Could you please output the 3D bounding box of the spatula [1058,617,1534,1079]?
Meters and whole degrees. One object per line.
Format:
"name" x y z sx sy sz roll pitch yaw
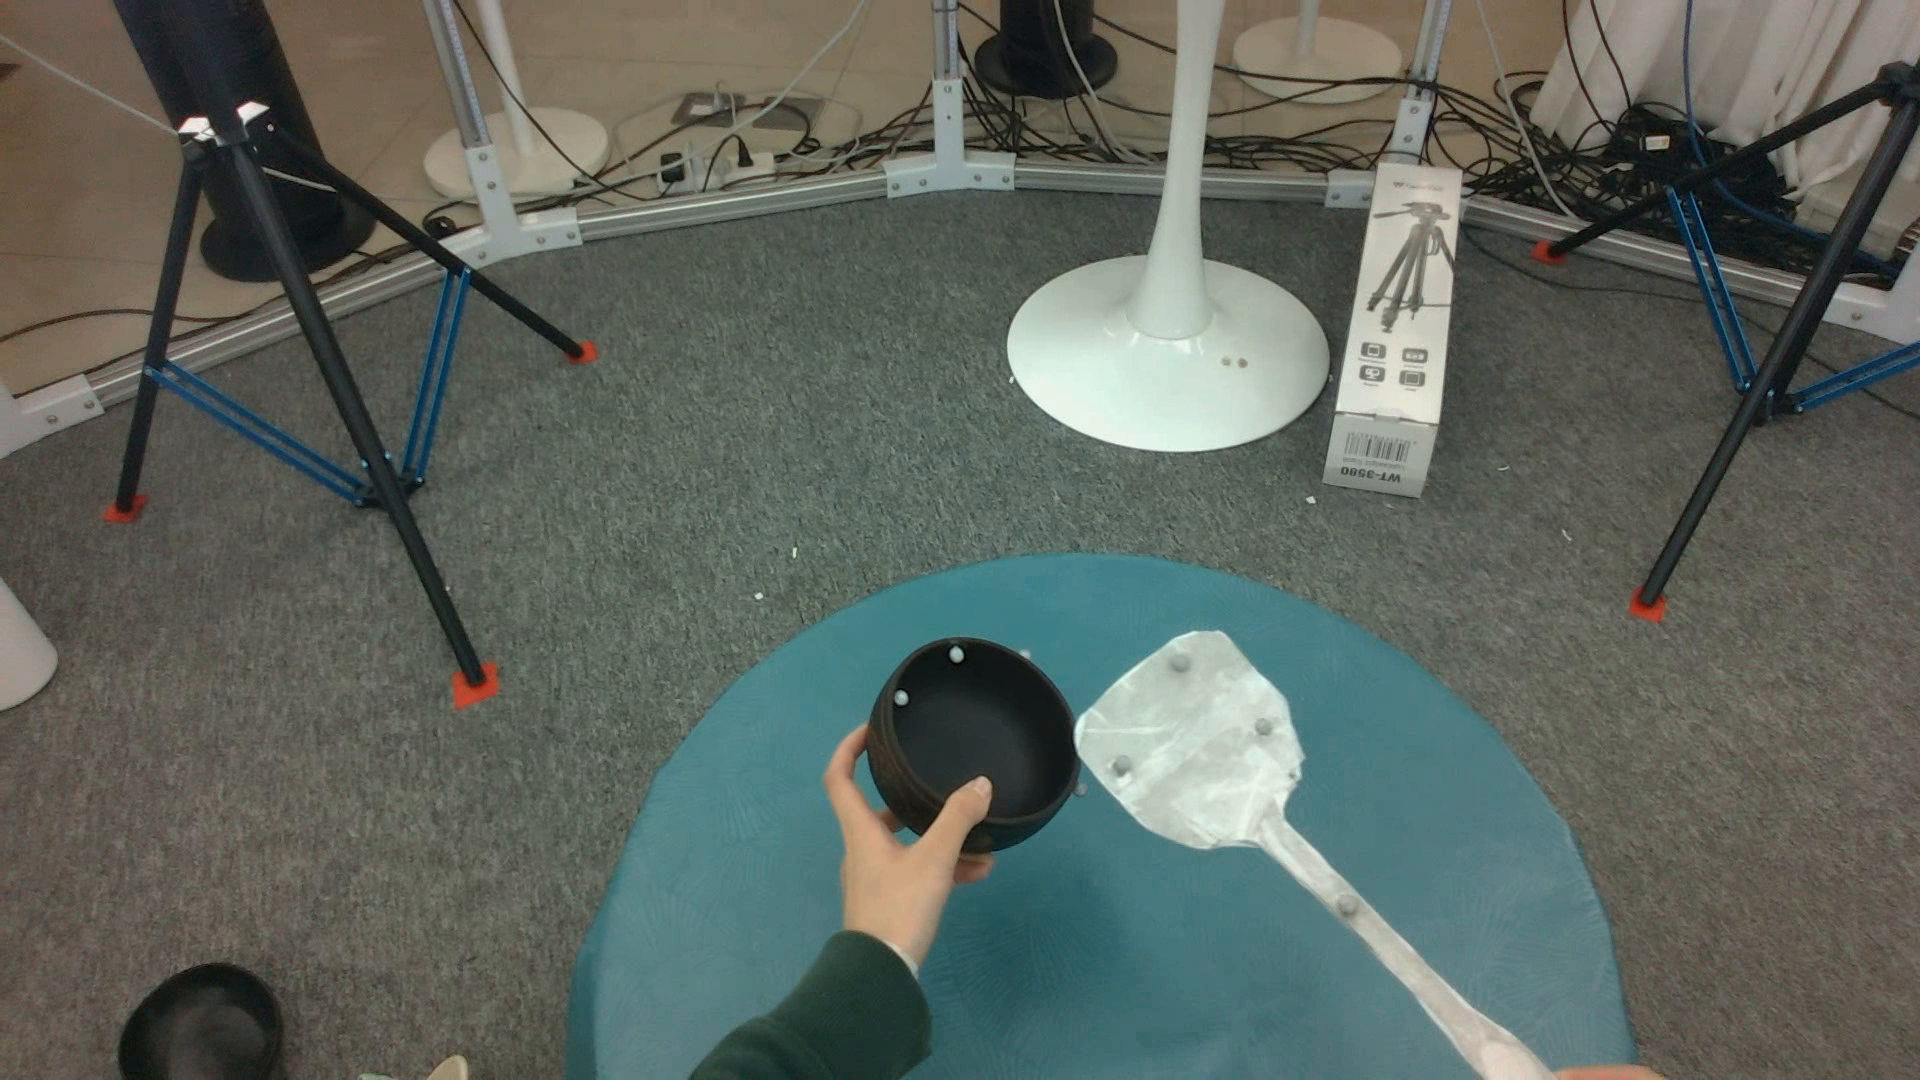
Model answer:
"spatula" 0.174 0.167 0.593 0.099 0.044 0.365 -35 45 -8

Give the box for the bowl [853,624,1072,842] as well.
"bowl" -0.004 0.113 0.763 0.118 0.069 0.118 13 51 -16
